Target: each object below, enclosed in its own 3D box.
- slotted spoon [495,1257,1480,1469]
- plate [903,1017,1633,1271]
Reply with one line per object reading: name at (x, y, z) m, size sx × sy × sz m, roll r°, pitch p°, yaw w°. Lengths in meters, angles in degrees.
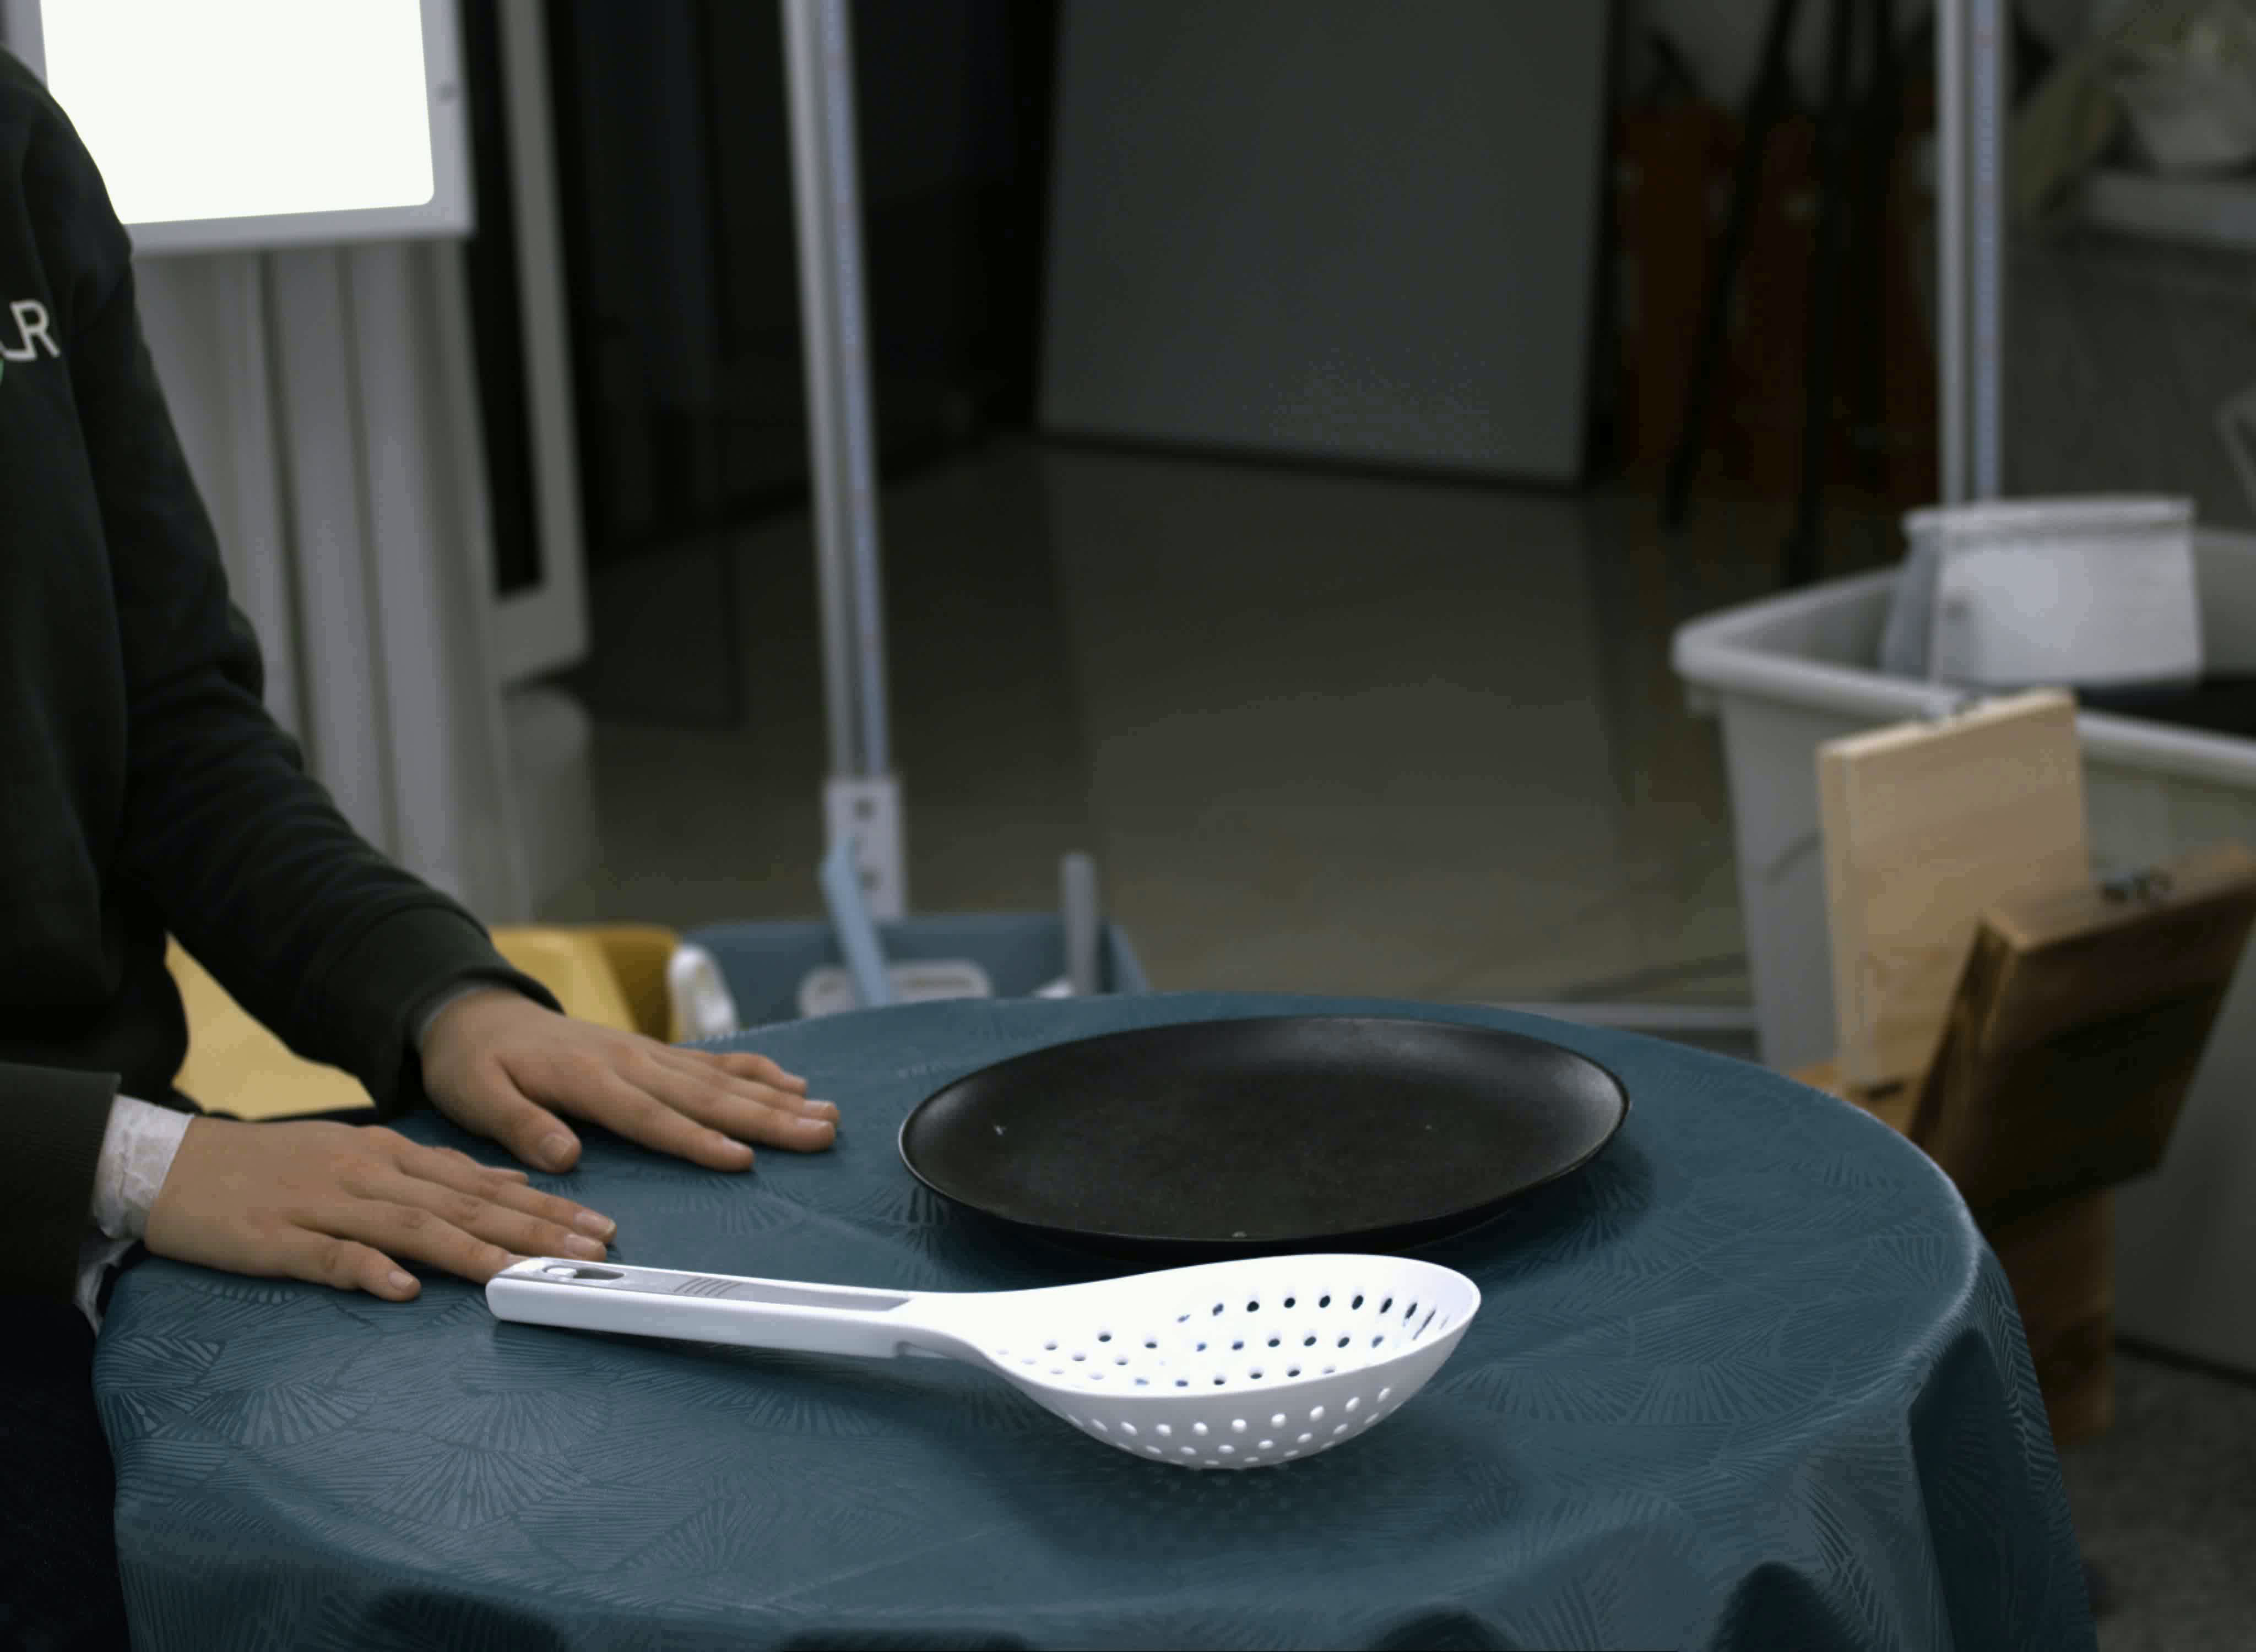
slotted spoon at (-0.052, 0.147, 1.586) m, size 0.352 × 0.046 × 0.133 m, roll 5°, pitch 15°, yaw 37°
plate at (0.046, 0.107, 1.768) m, size 0.241 × 0.024 × 0.245 m, roll -4°, pitch 14°, yaw 0°
